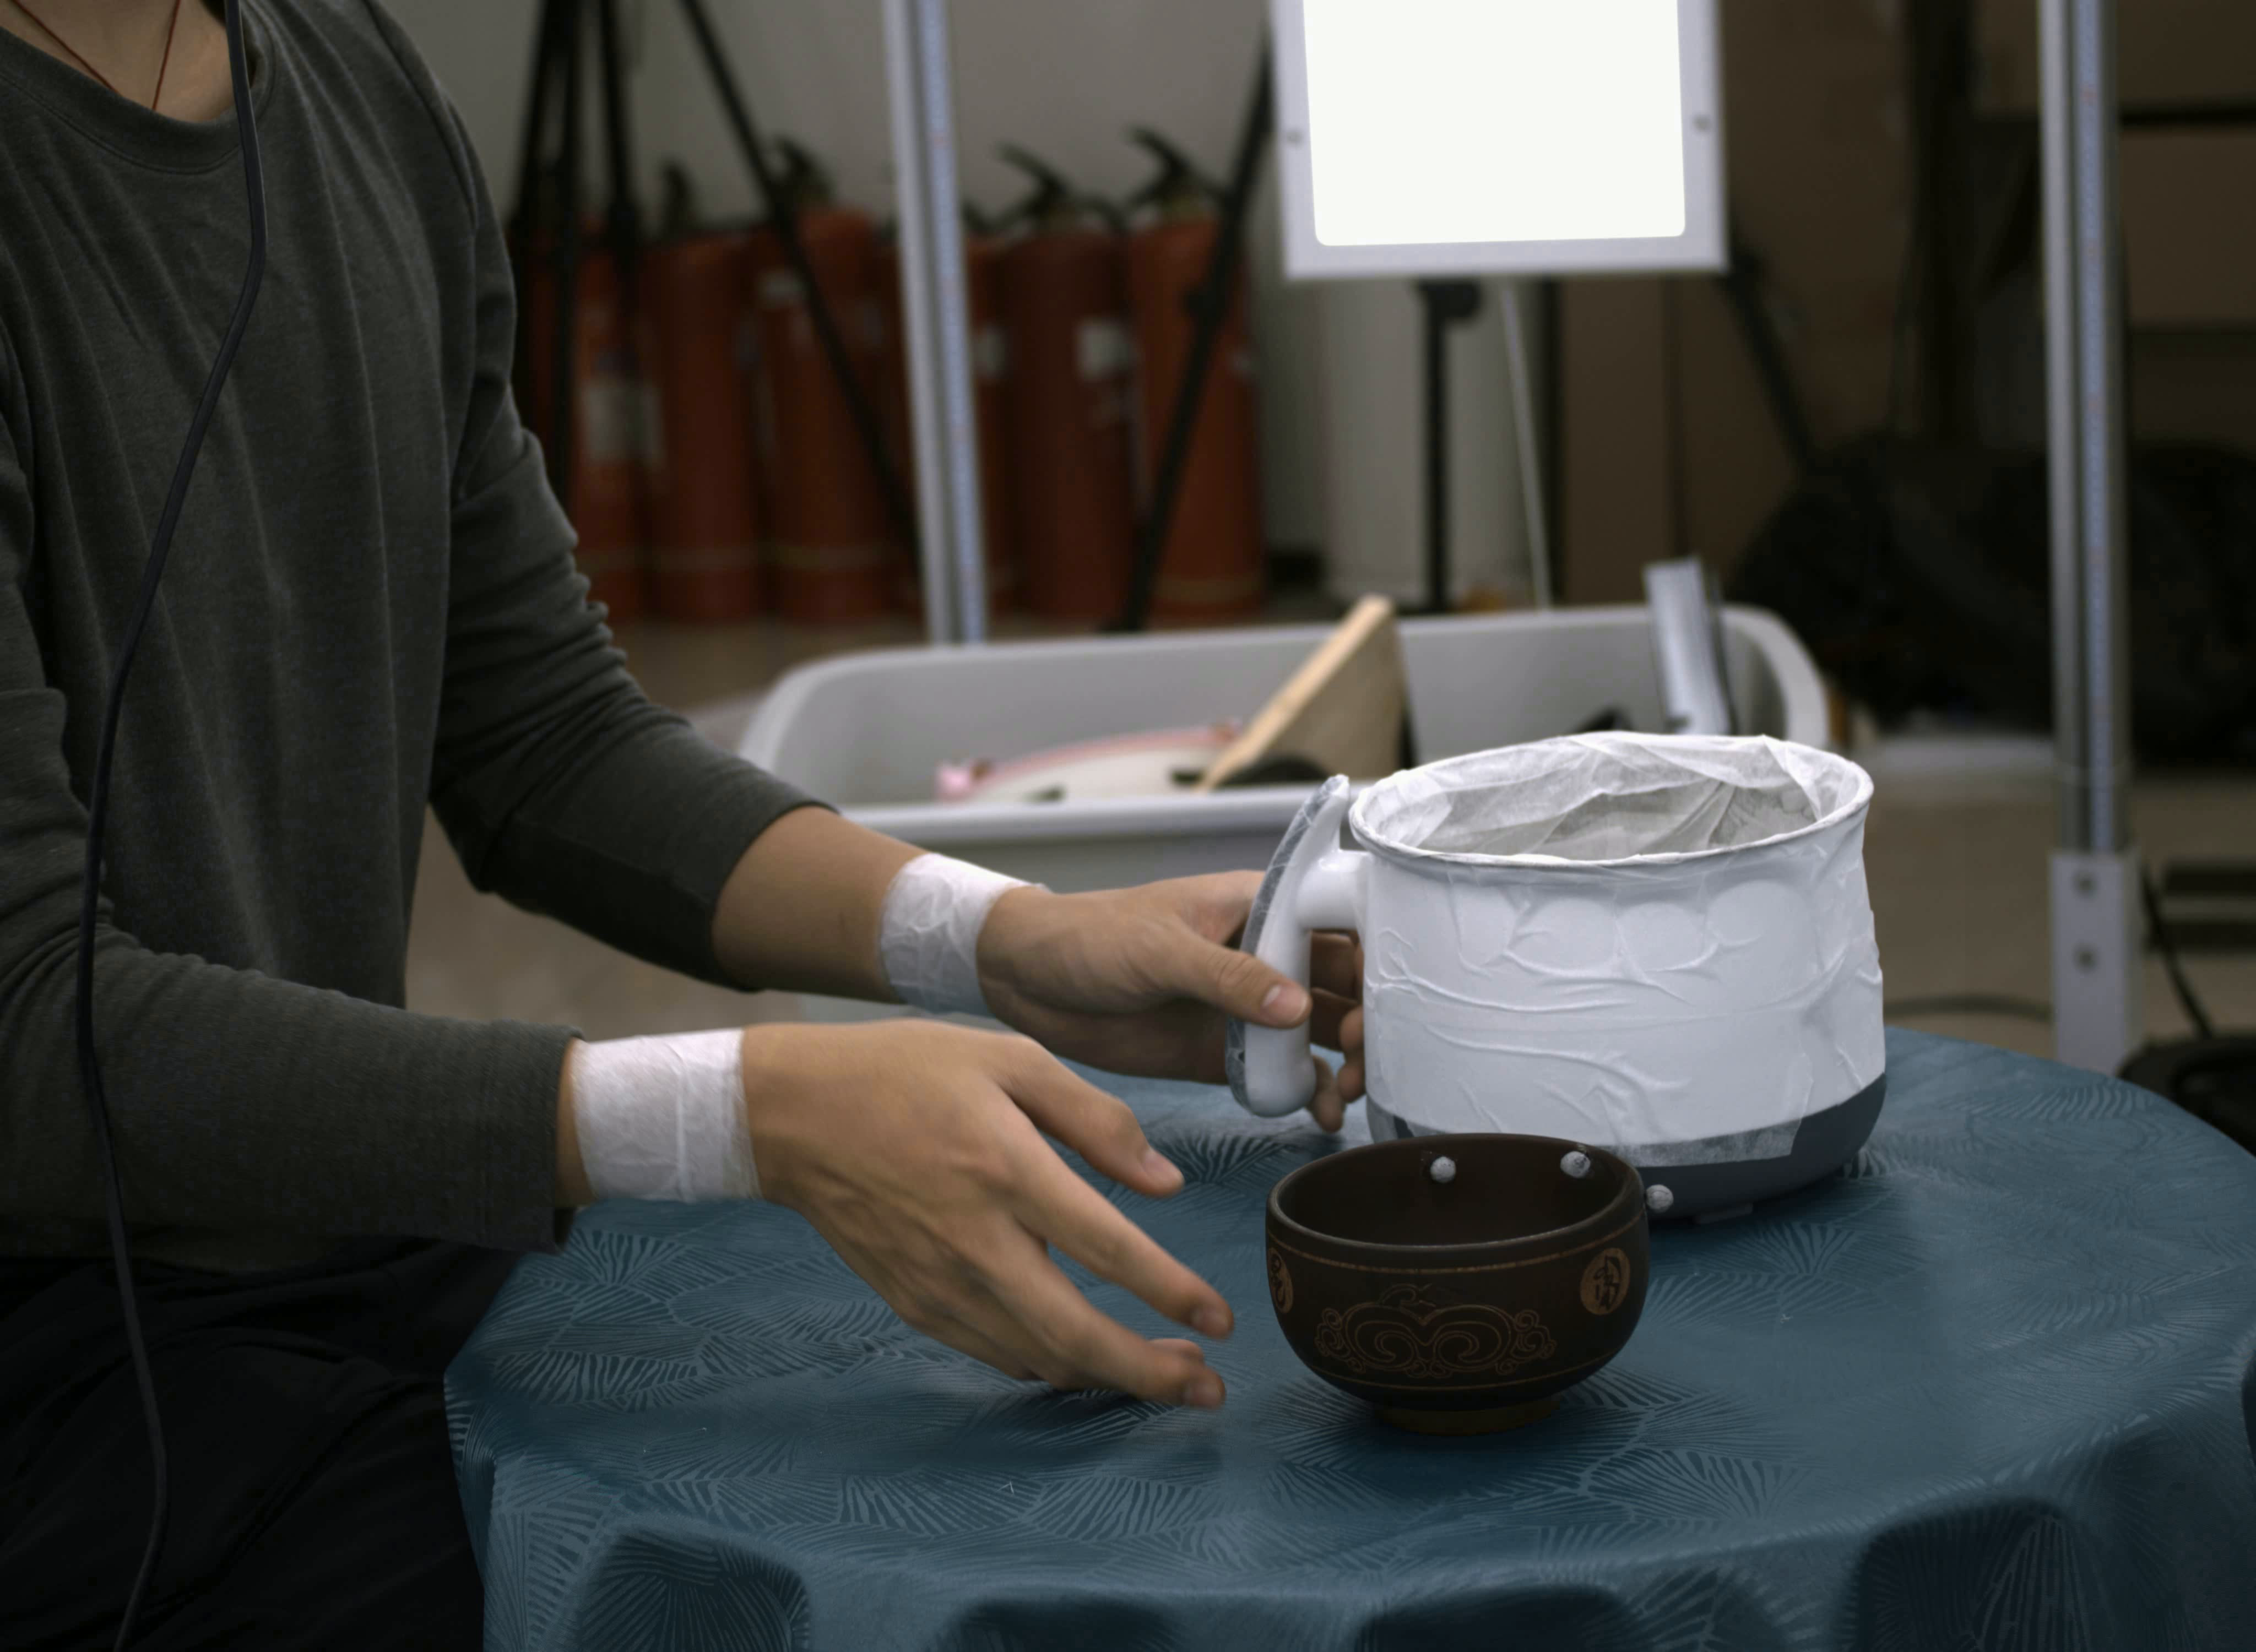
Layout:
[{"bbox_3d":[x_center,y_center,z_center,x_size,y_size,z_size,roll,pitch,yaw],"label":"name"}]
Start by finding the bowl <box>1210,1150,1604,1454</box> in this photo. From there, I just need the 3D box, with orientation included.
[{"bbox_3d":[0.087,0.147,1.655,0.118,0.070,0.118,-11,10,1],"label":"bowl"}]

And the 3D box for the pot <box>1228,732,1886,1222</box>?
[{"bbox_3d":[0.143,0.050,1.874,0.237,0.137,0.175,1,14,24],"label":"pot"}]
